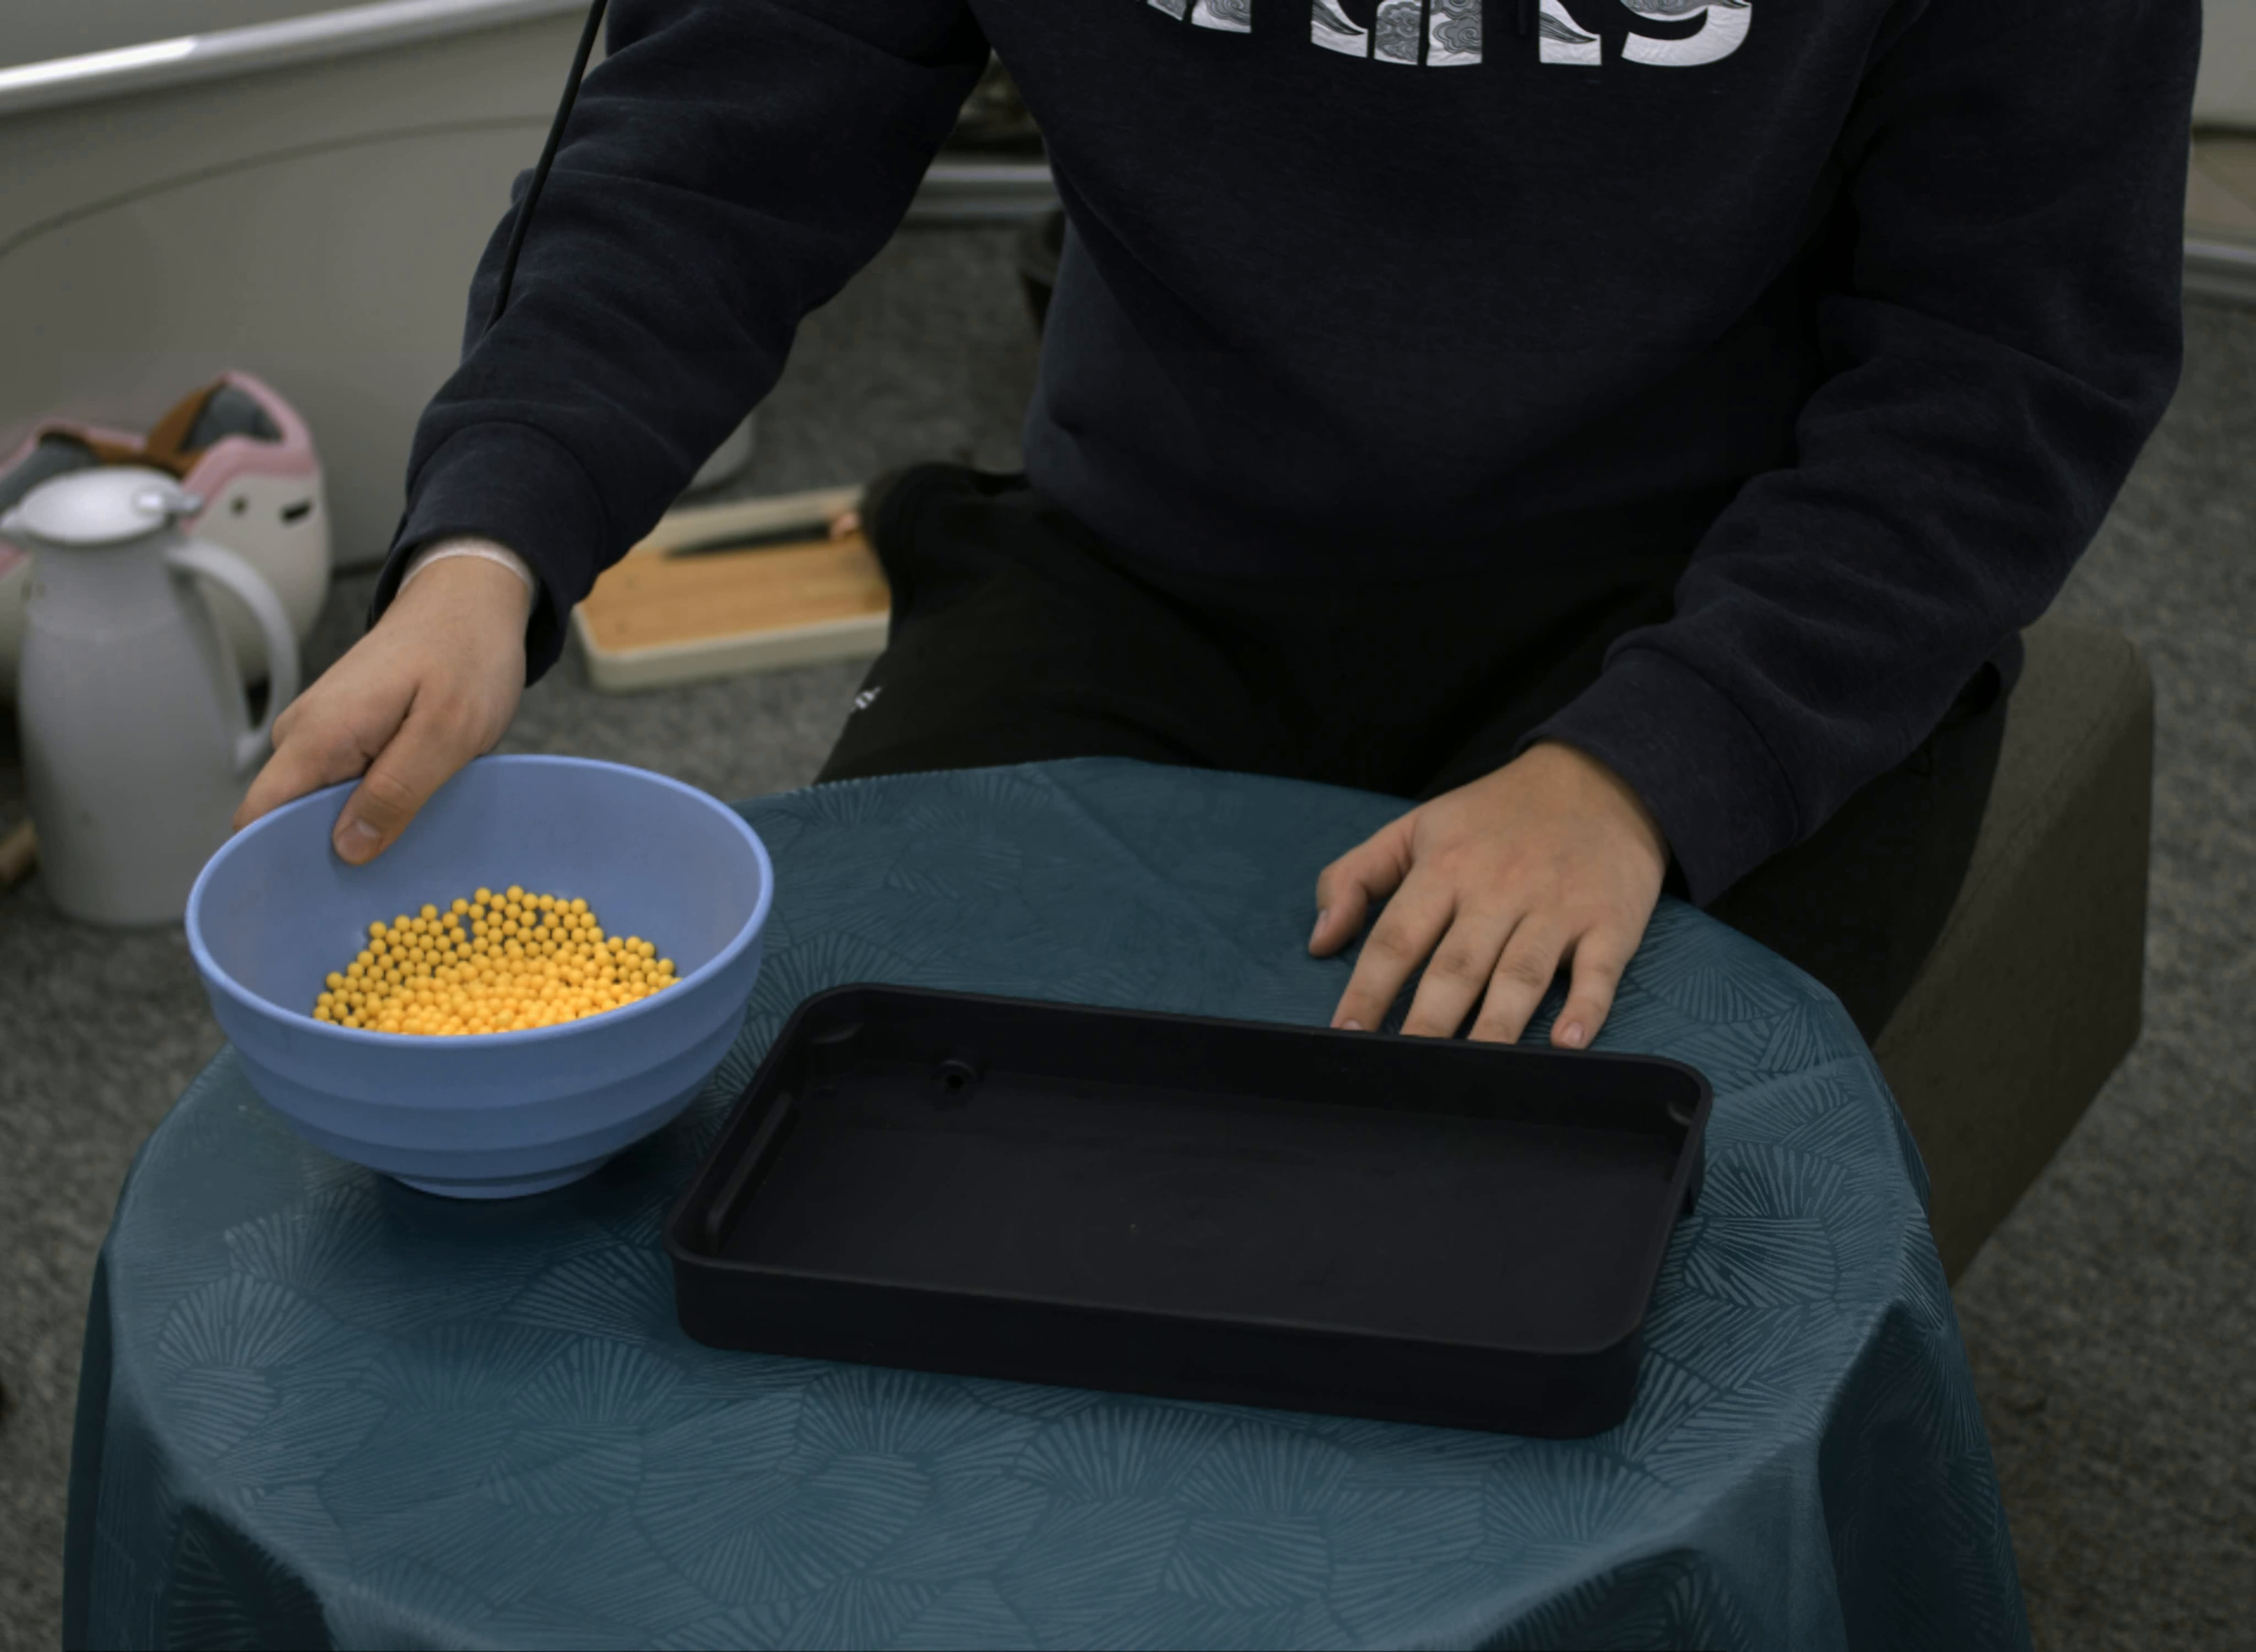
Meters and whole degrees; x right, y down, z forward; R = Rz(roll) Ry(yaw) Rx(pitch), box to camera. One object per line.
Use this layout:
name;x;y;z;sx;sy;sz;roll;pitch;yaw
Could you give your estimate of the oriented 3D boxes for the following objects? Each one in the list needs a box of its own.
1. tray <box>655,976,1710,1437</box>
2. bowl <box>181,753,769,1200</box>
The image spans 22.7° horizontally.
tray;0.020;0.120;1.825;0.316;0.036;0.187;5;28;14
bowl;-0.215;0.062;1.893;0.195;0.094;0.199;-2;29;1
